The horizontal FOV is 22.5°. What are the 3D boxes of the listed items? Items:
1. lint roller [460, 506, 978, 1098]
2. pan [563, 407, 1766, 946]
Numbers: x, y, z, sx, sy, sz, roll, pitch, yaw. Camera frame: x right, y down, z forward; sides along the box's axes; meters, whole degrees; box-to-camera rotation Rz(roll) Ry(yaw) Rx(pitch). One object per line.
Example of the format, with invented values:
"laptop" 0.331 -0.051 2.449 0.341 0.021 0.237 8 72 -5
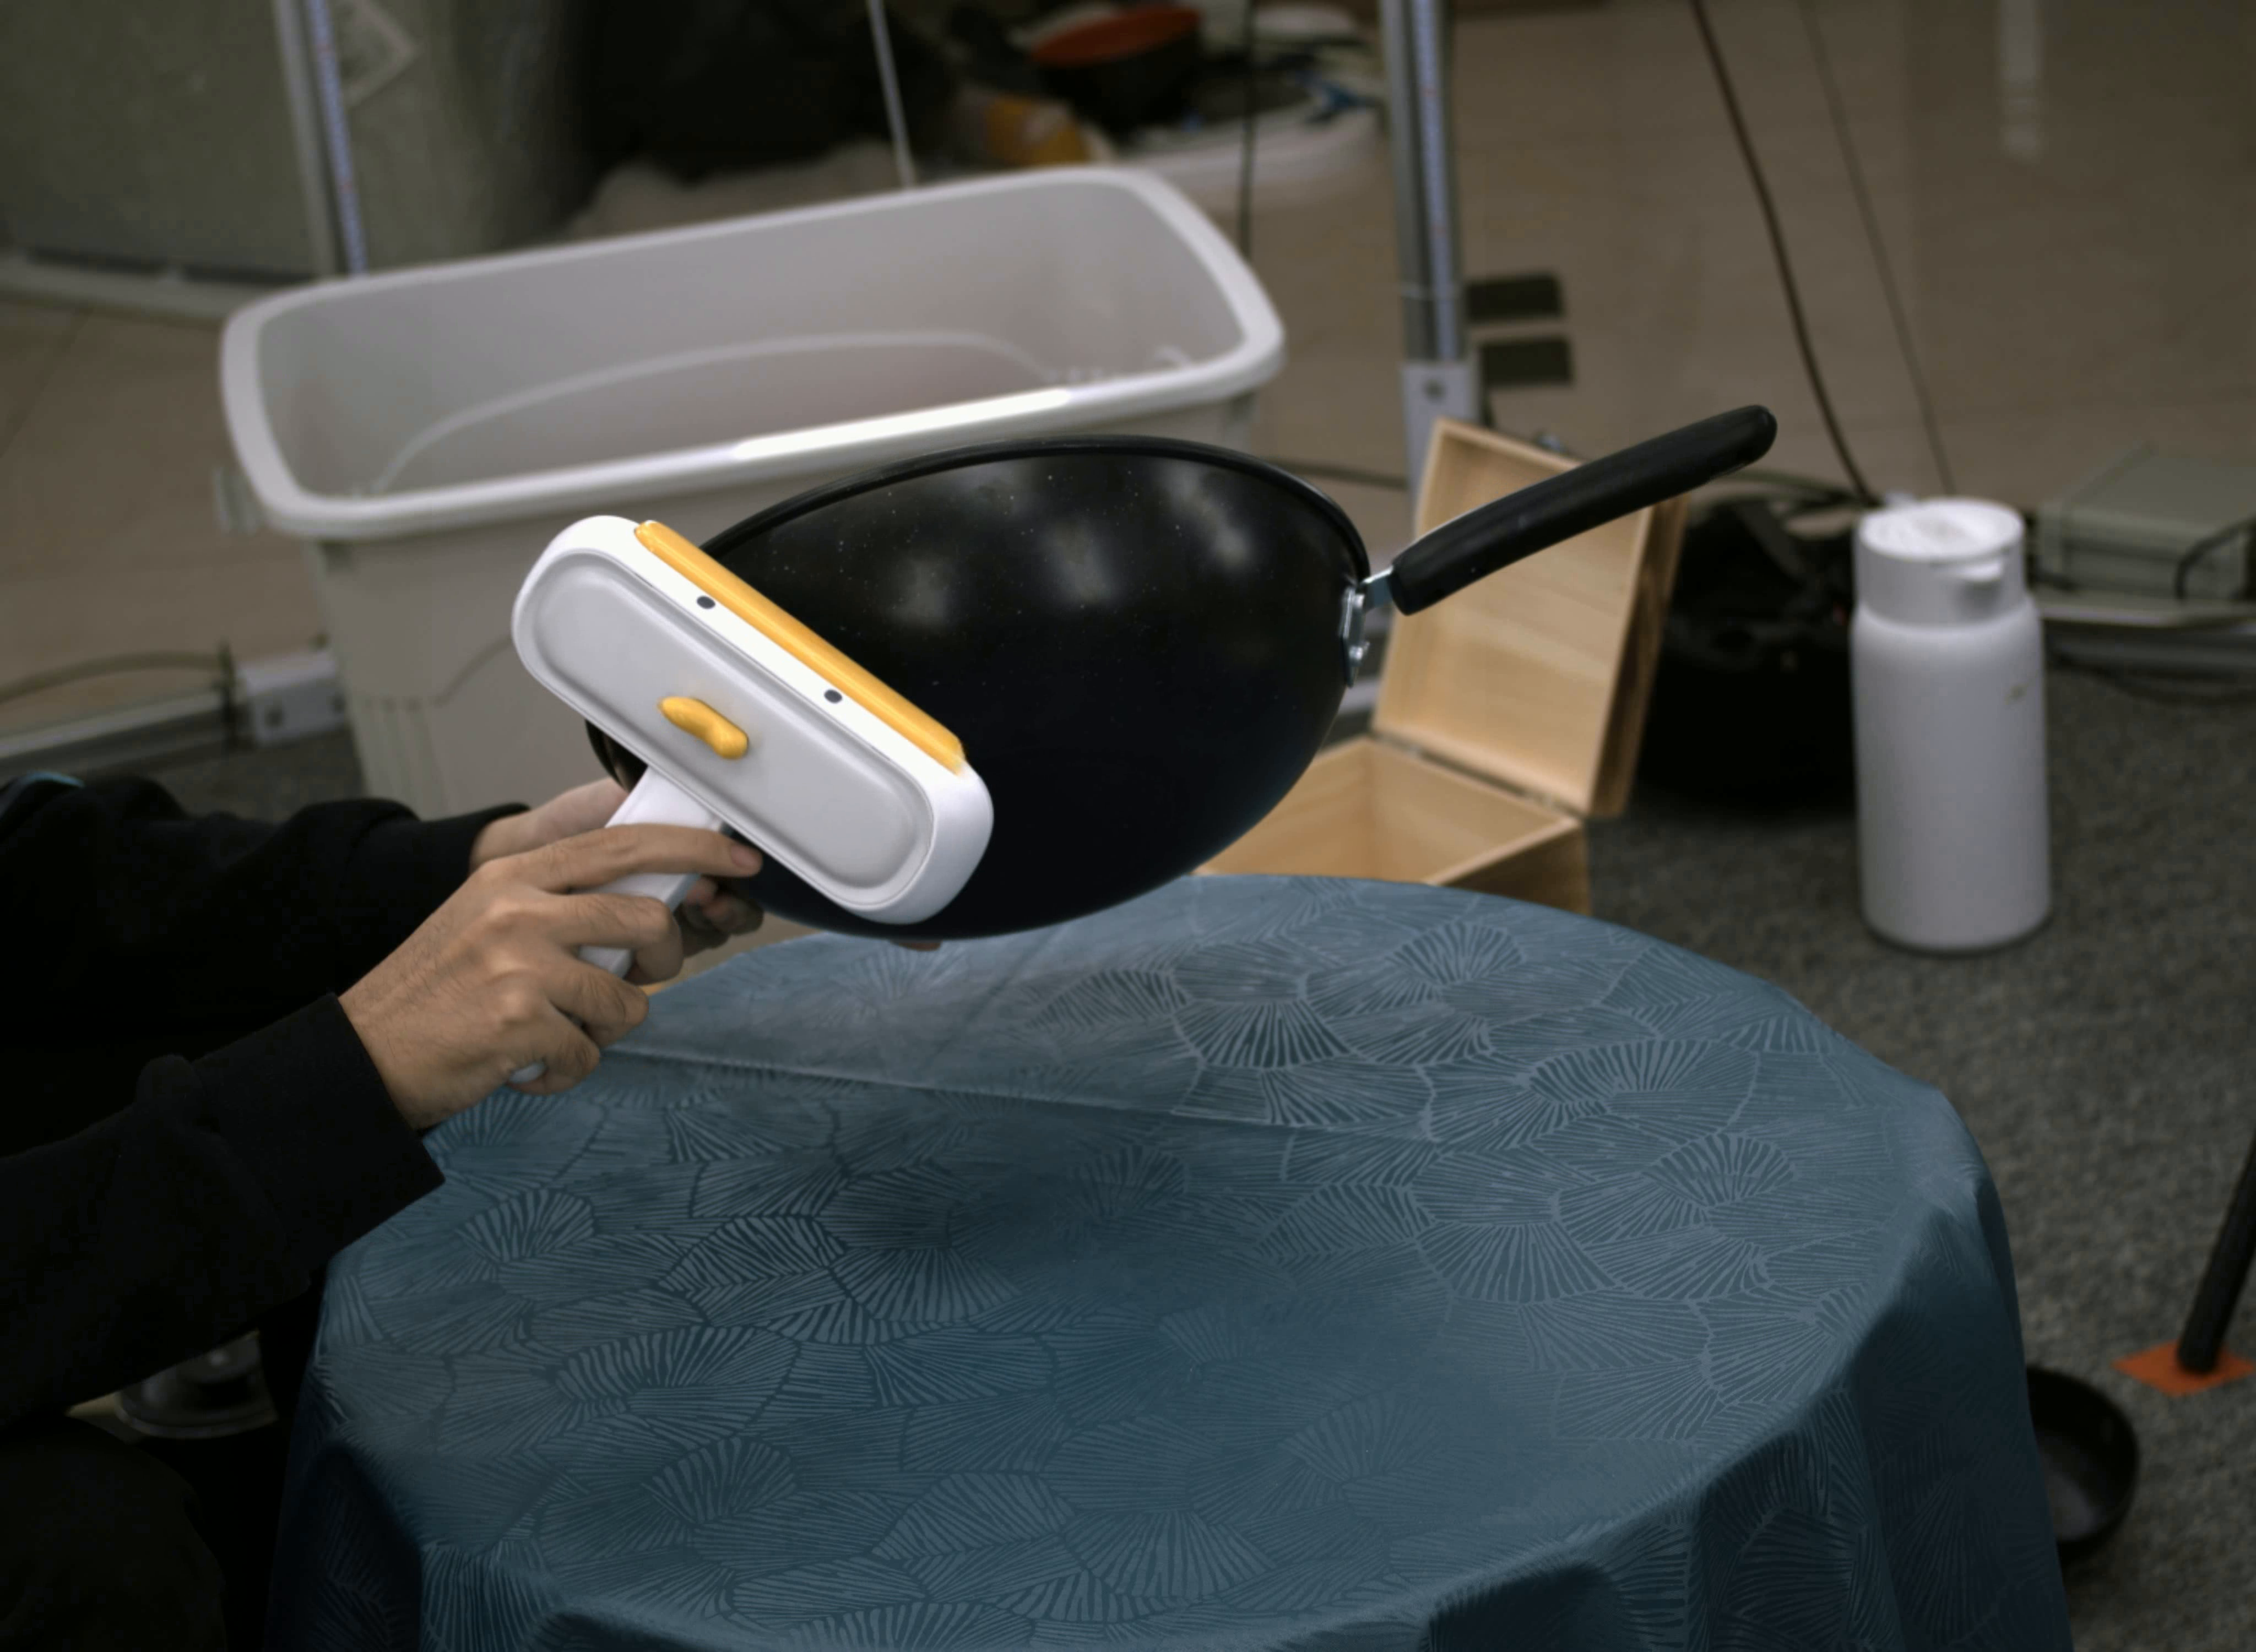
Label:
"lint roller" -0.171 0.009 1.998 0.192 0.193 0.074 32 9 6
"pan" 0.023 -0.059 2.165 0.476 0.314 0.110 -12 66 -1
